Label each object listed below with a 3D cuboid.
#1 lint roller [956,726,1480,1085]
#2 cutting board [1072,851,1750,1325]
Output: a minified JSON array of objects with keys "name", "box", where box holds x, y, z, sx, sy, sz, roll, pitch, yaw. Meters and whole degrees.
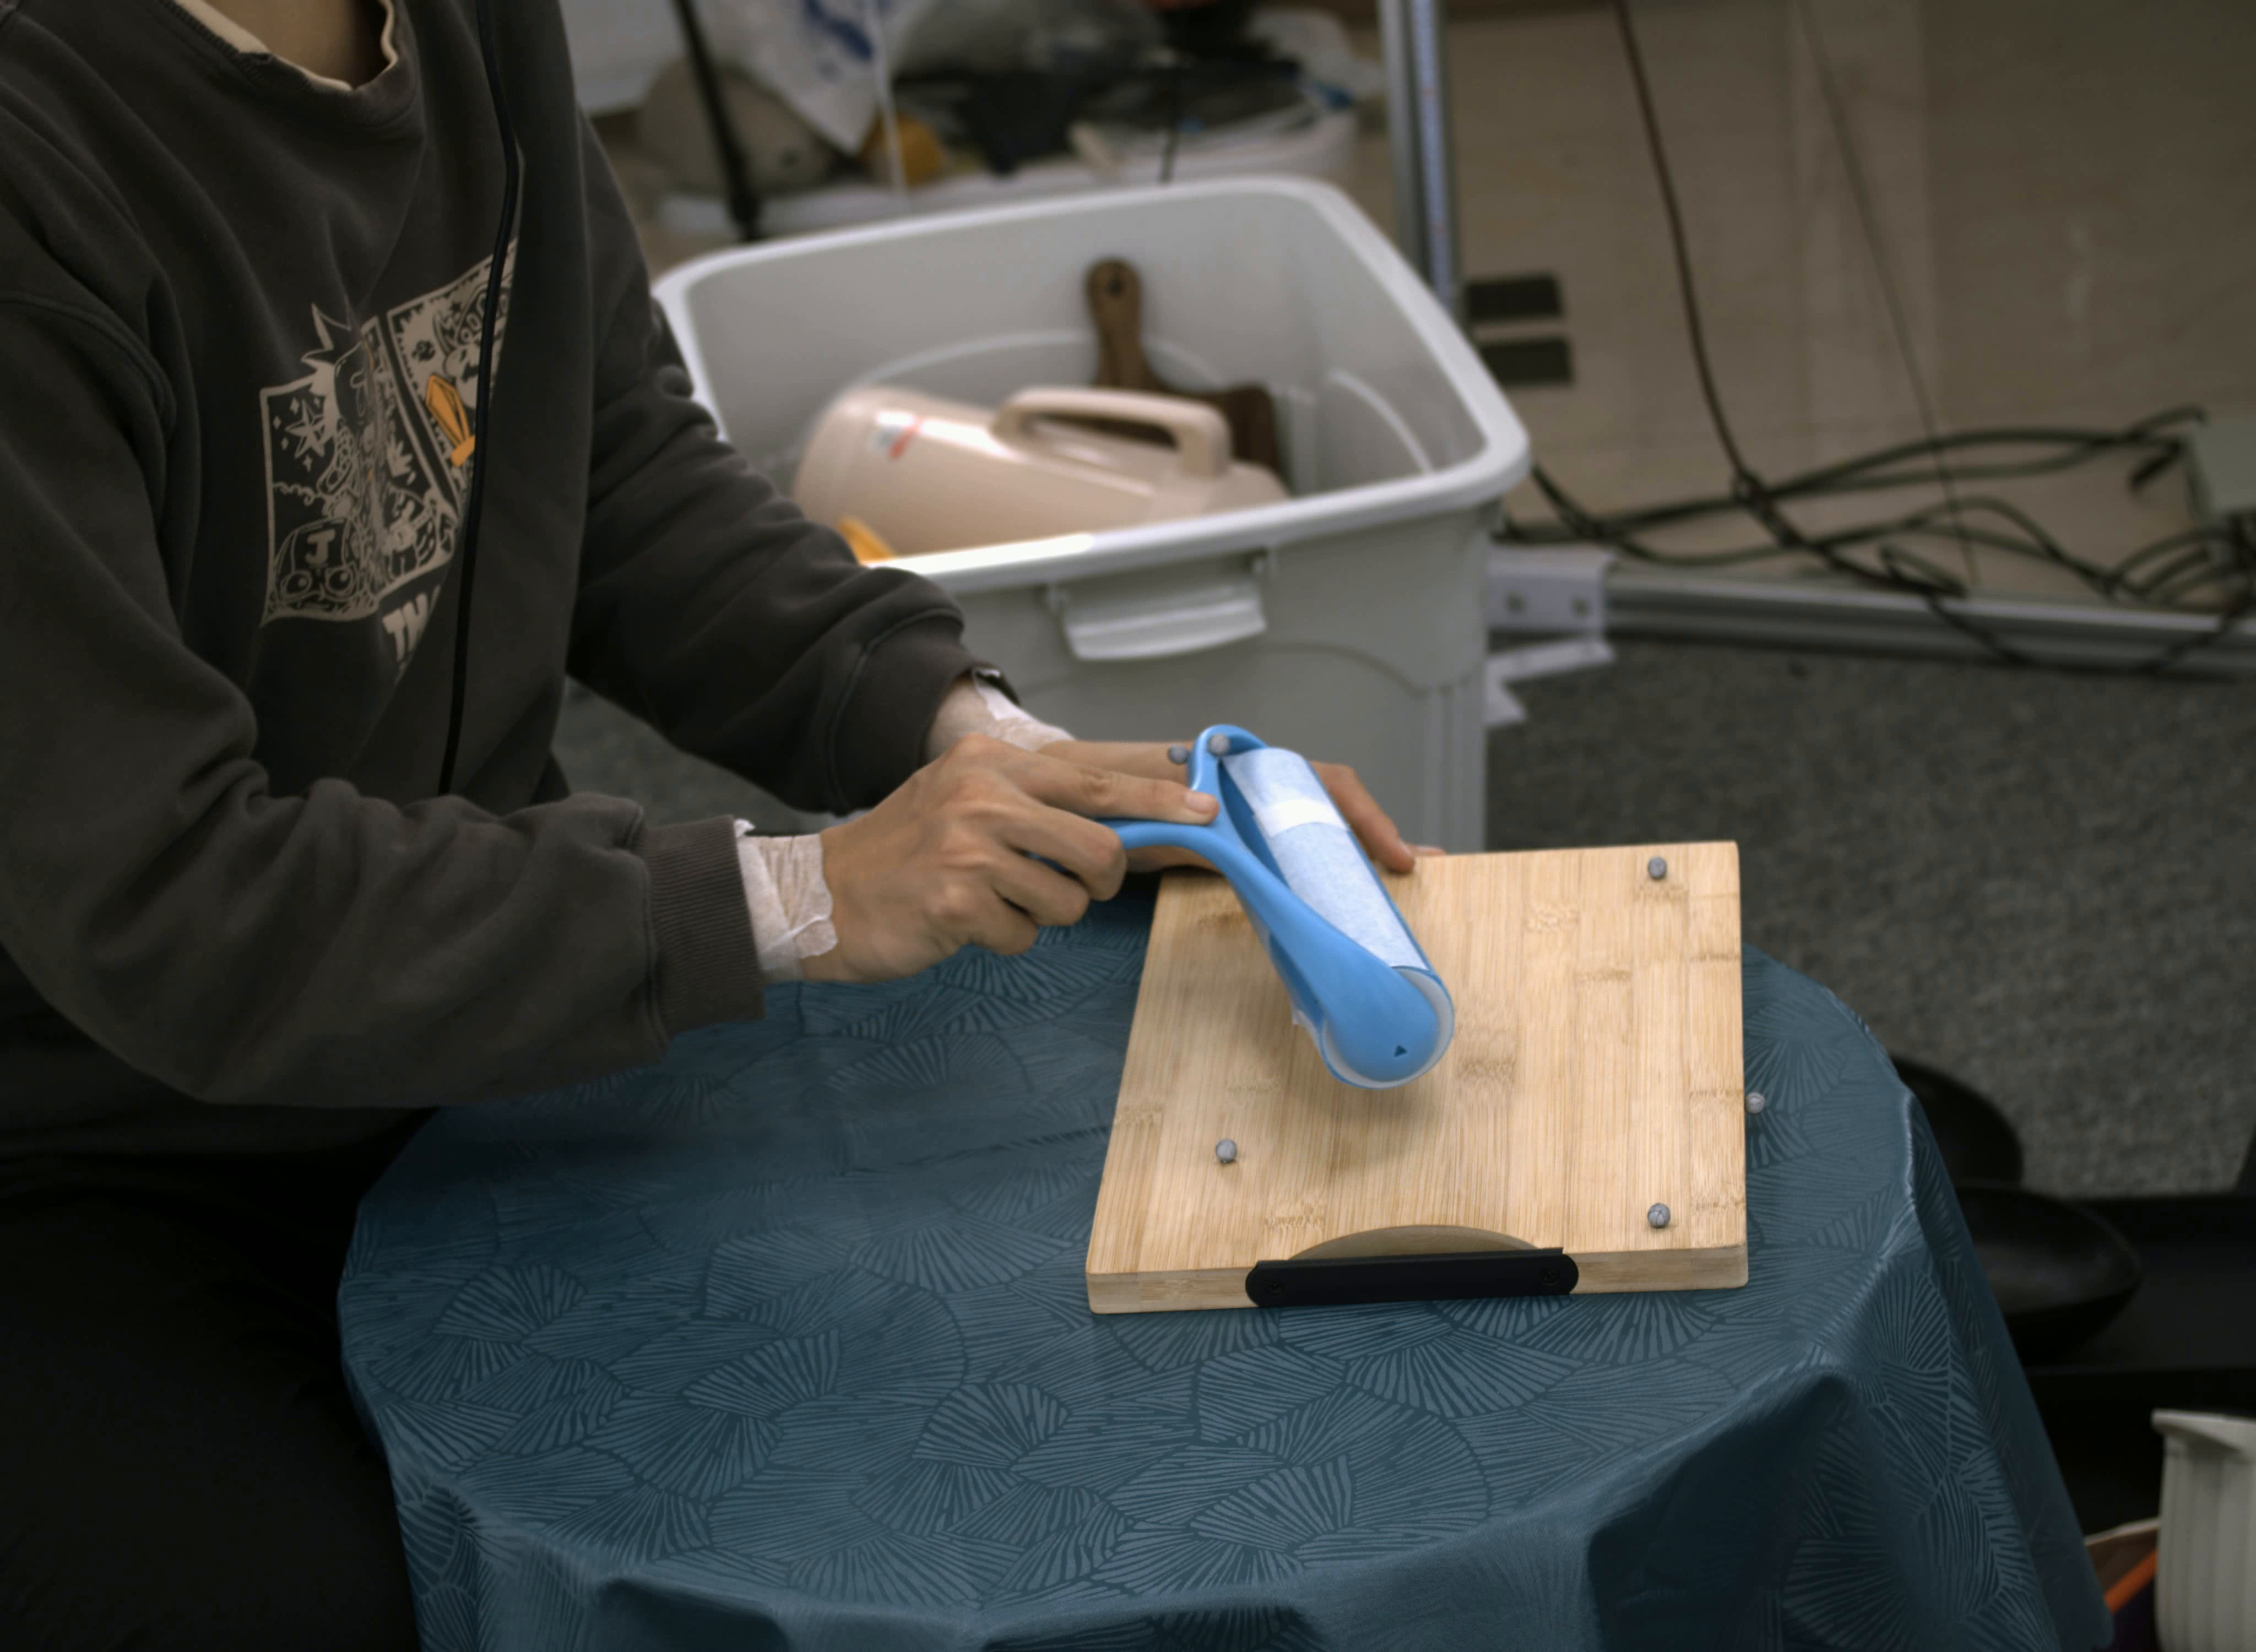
[{"name":"lint roller","box":[0.026,0.025,2.178,0.180,0.069,0.225,7,25,-22]},{"name":"cutting board","box":[0.117,0.095,2.192,0.250,0.024,0.343,-4,25,7]}]
